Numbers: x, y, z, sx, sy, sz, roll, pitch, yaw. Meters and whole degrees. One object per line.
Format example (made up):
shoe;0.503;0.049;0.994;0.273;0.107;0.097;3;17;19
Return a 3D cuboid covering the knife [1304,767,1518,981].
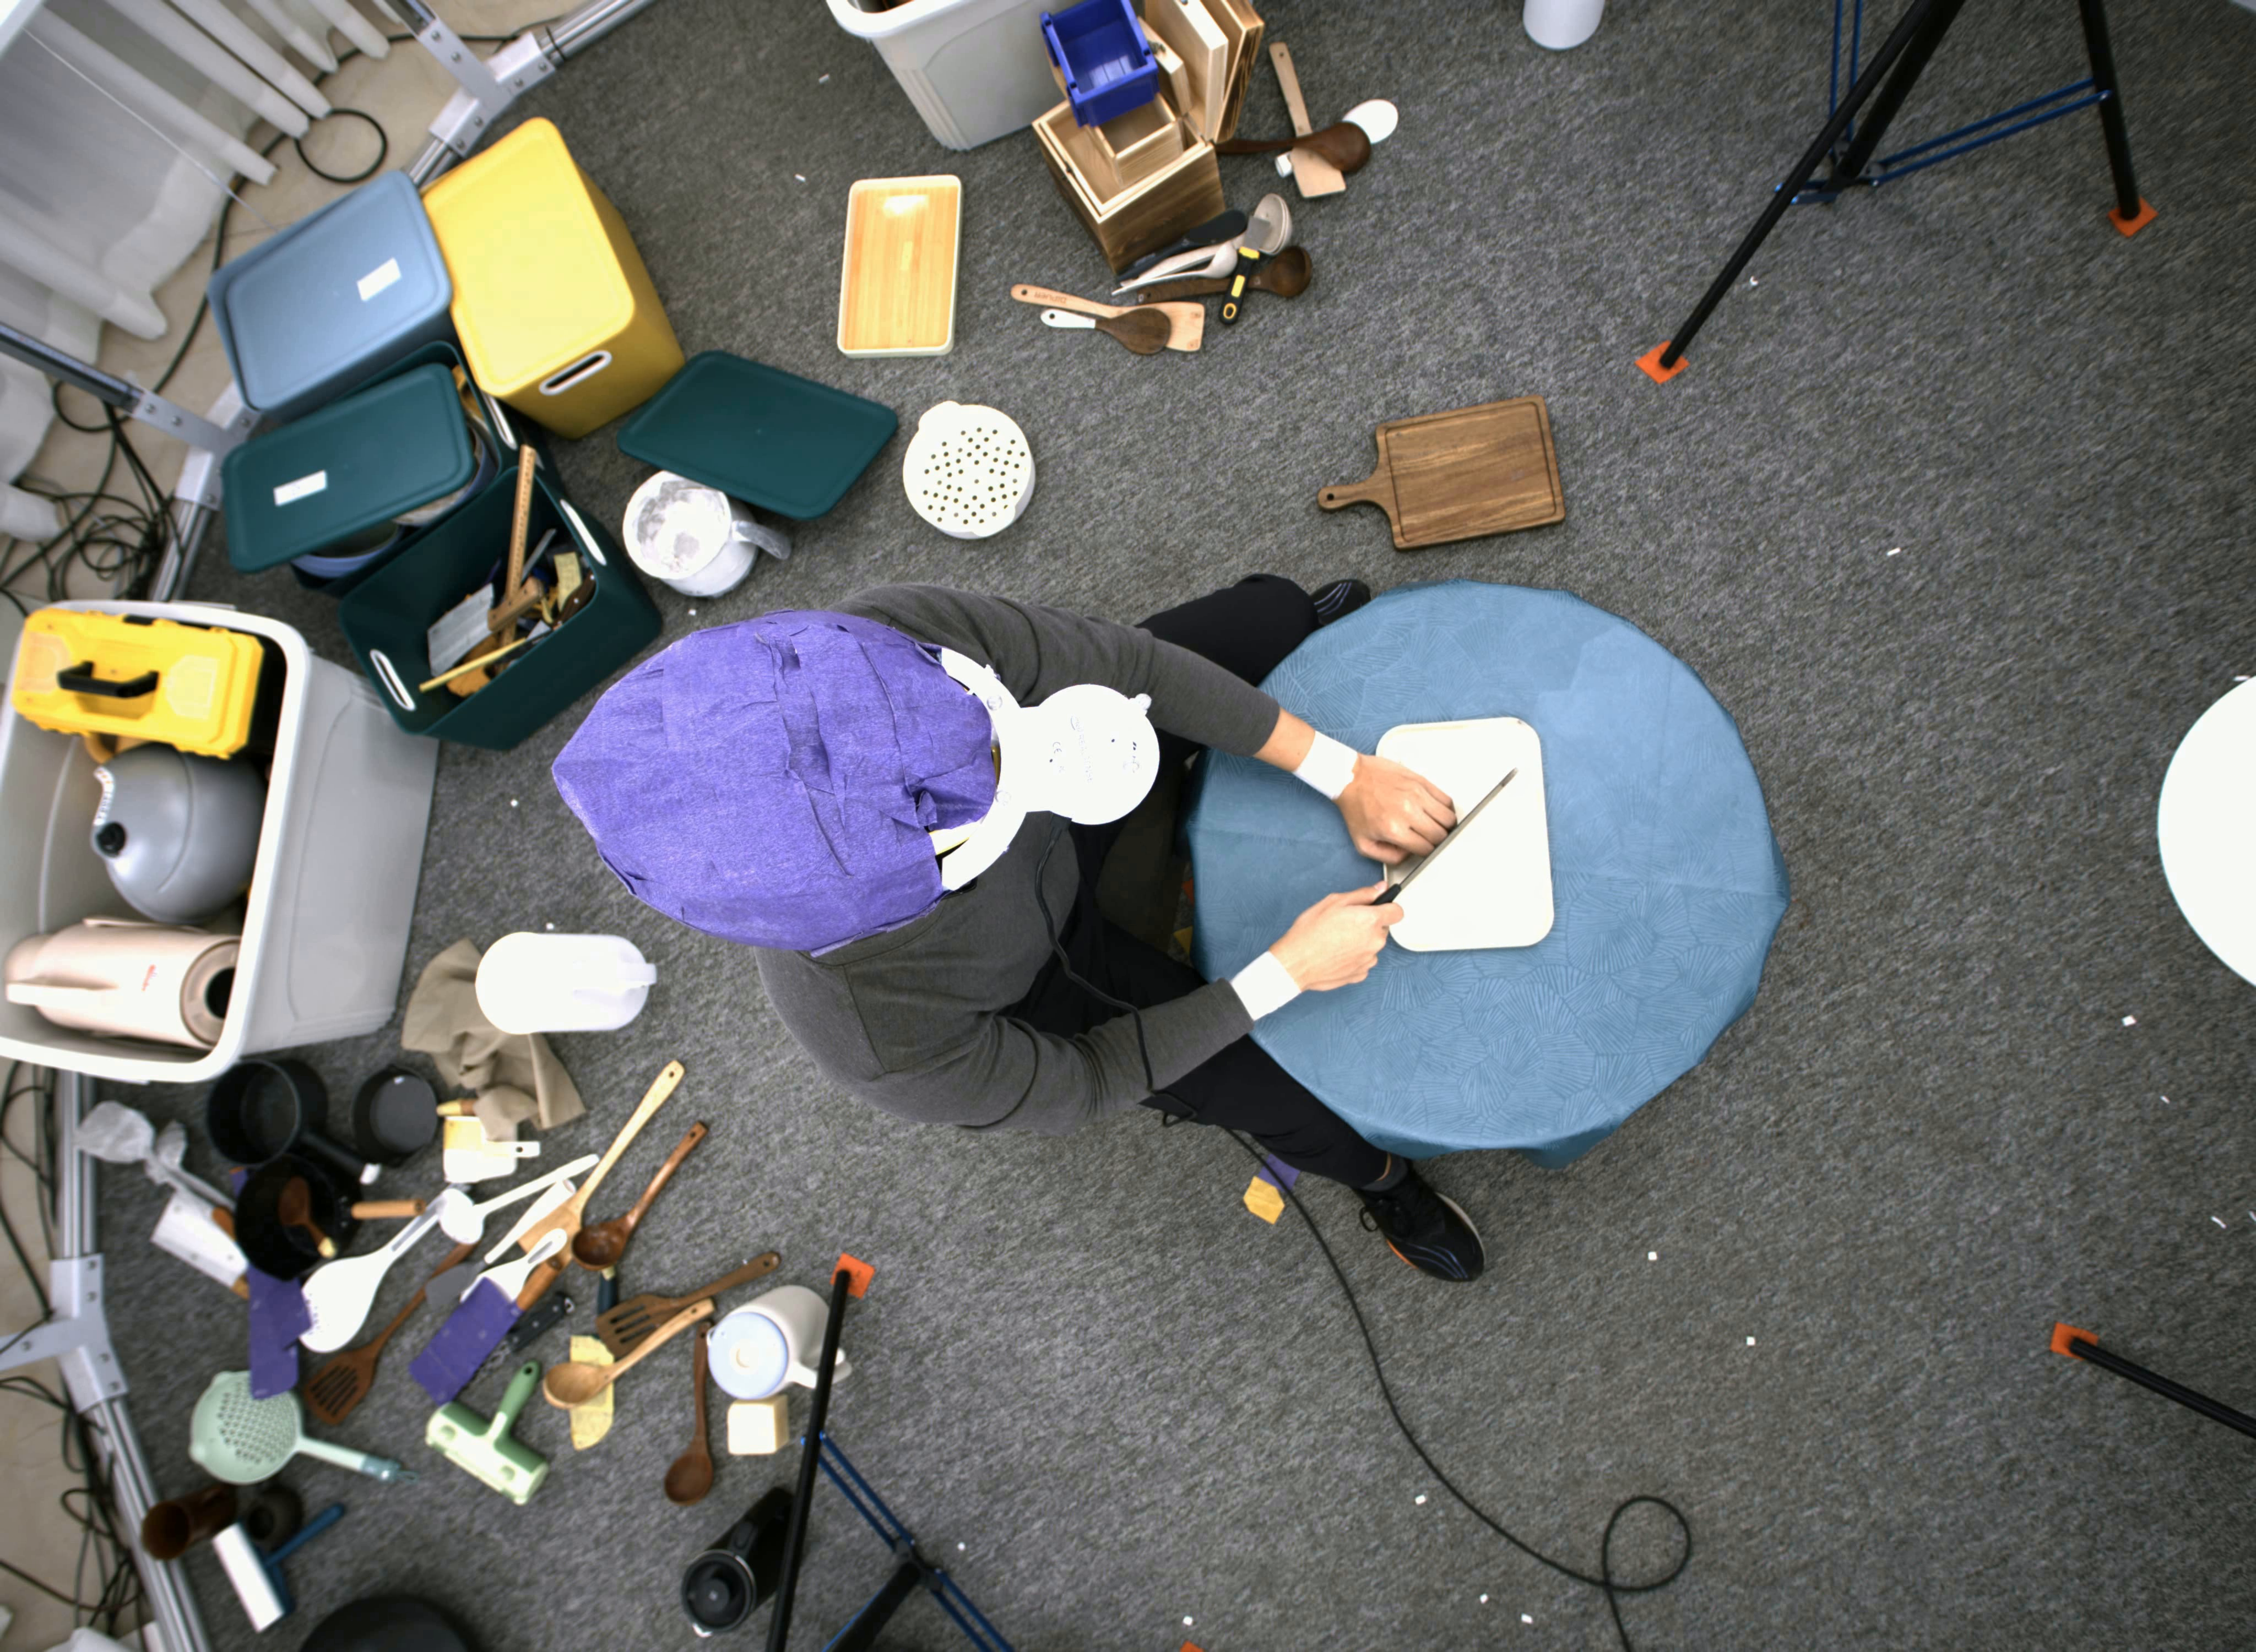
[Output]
knife;0.292;0.048;1.411;0.302;0.081;0.021;-44;75;1

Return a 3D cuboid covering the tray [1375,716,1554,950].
tray;0.351;0.006;1.440;0.172;0.017;0.238;-4;86;11
